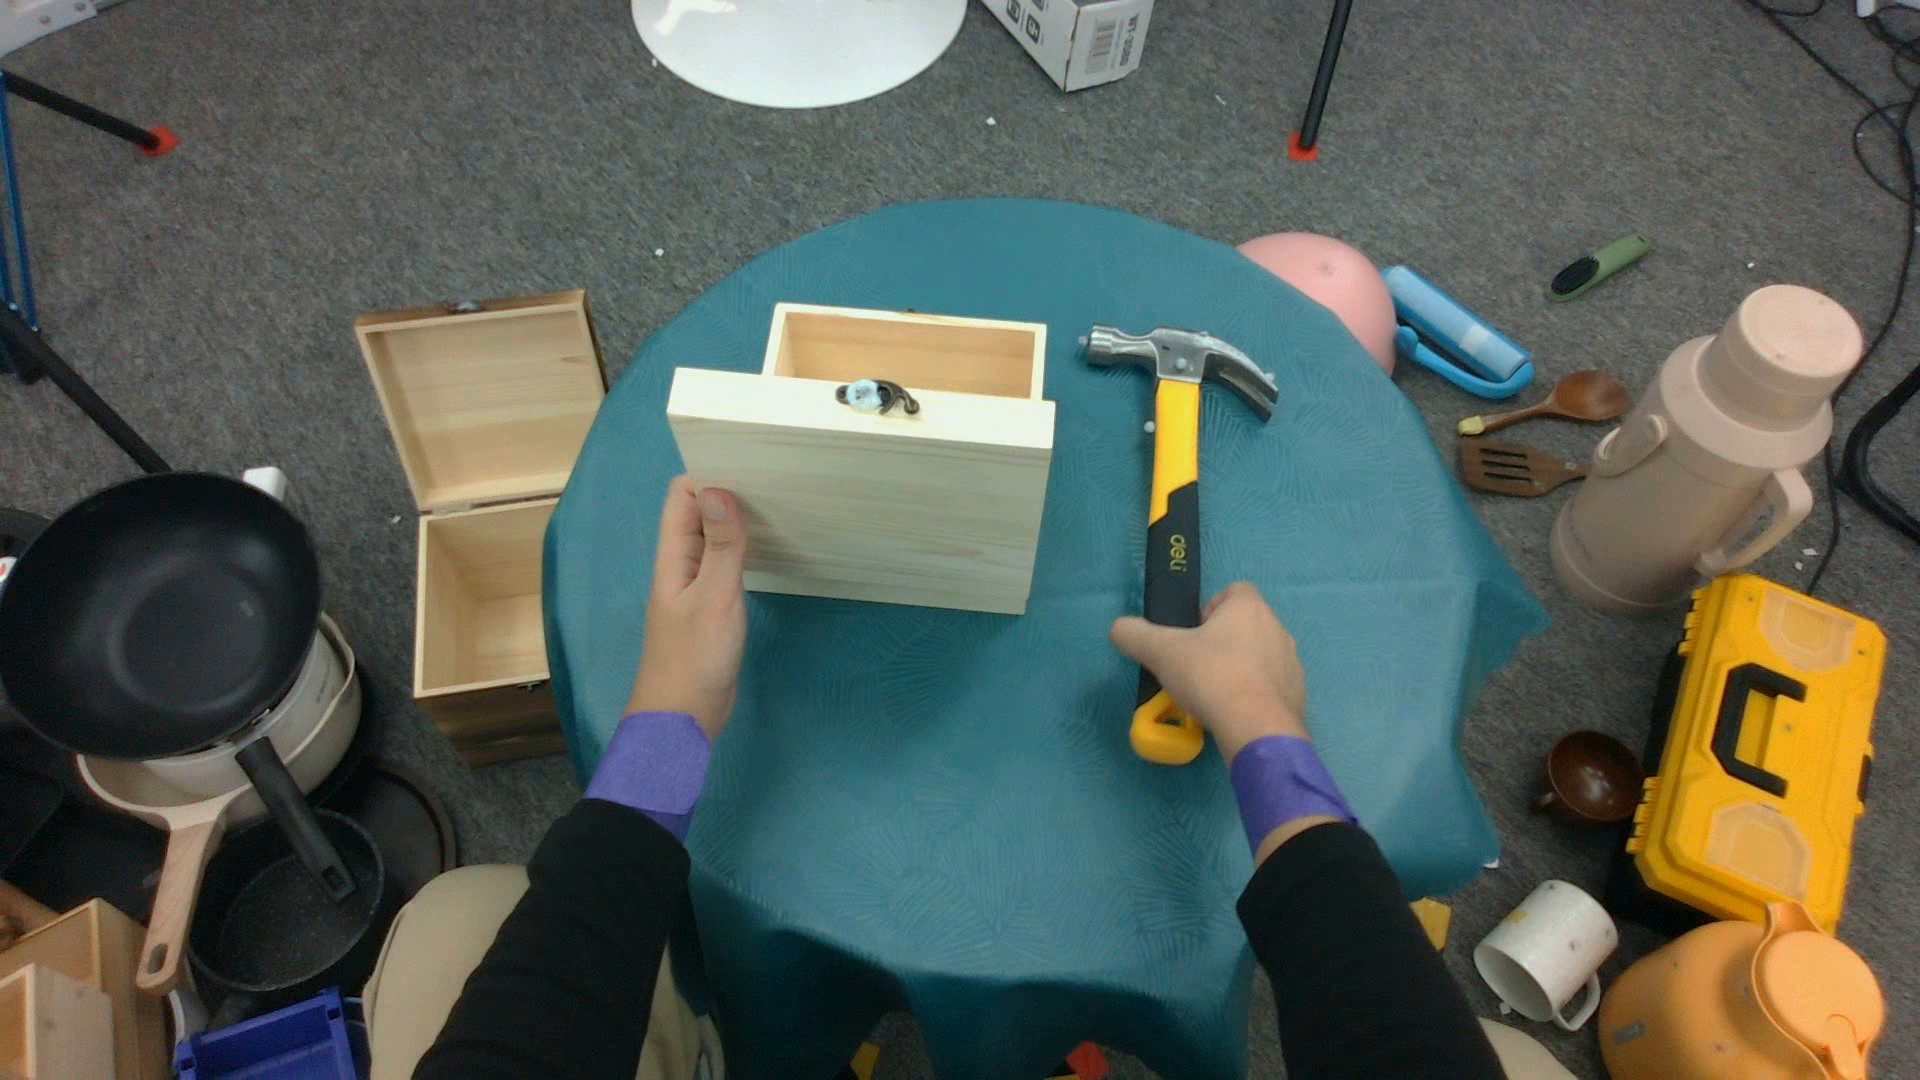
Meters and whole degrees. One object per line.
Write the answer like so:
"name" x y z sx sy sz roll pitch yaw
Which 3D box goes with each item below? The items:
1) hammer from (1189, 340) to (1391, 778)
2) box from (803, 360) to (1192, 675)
"hammer" 0.218 -0.004 0.860 0.131 0.032 0.340 -3 49 7
"box" 0.027 -0.034 0.802 0.181 0.252 0.266 -5 55 5
